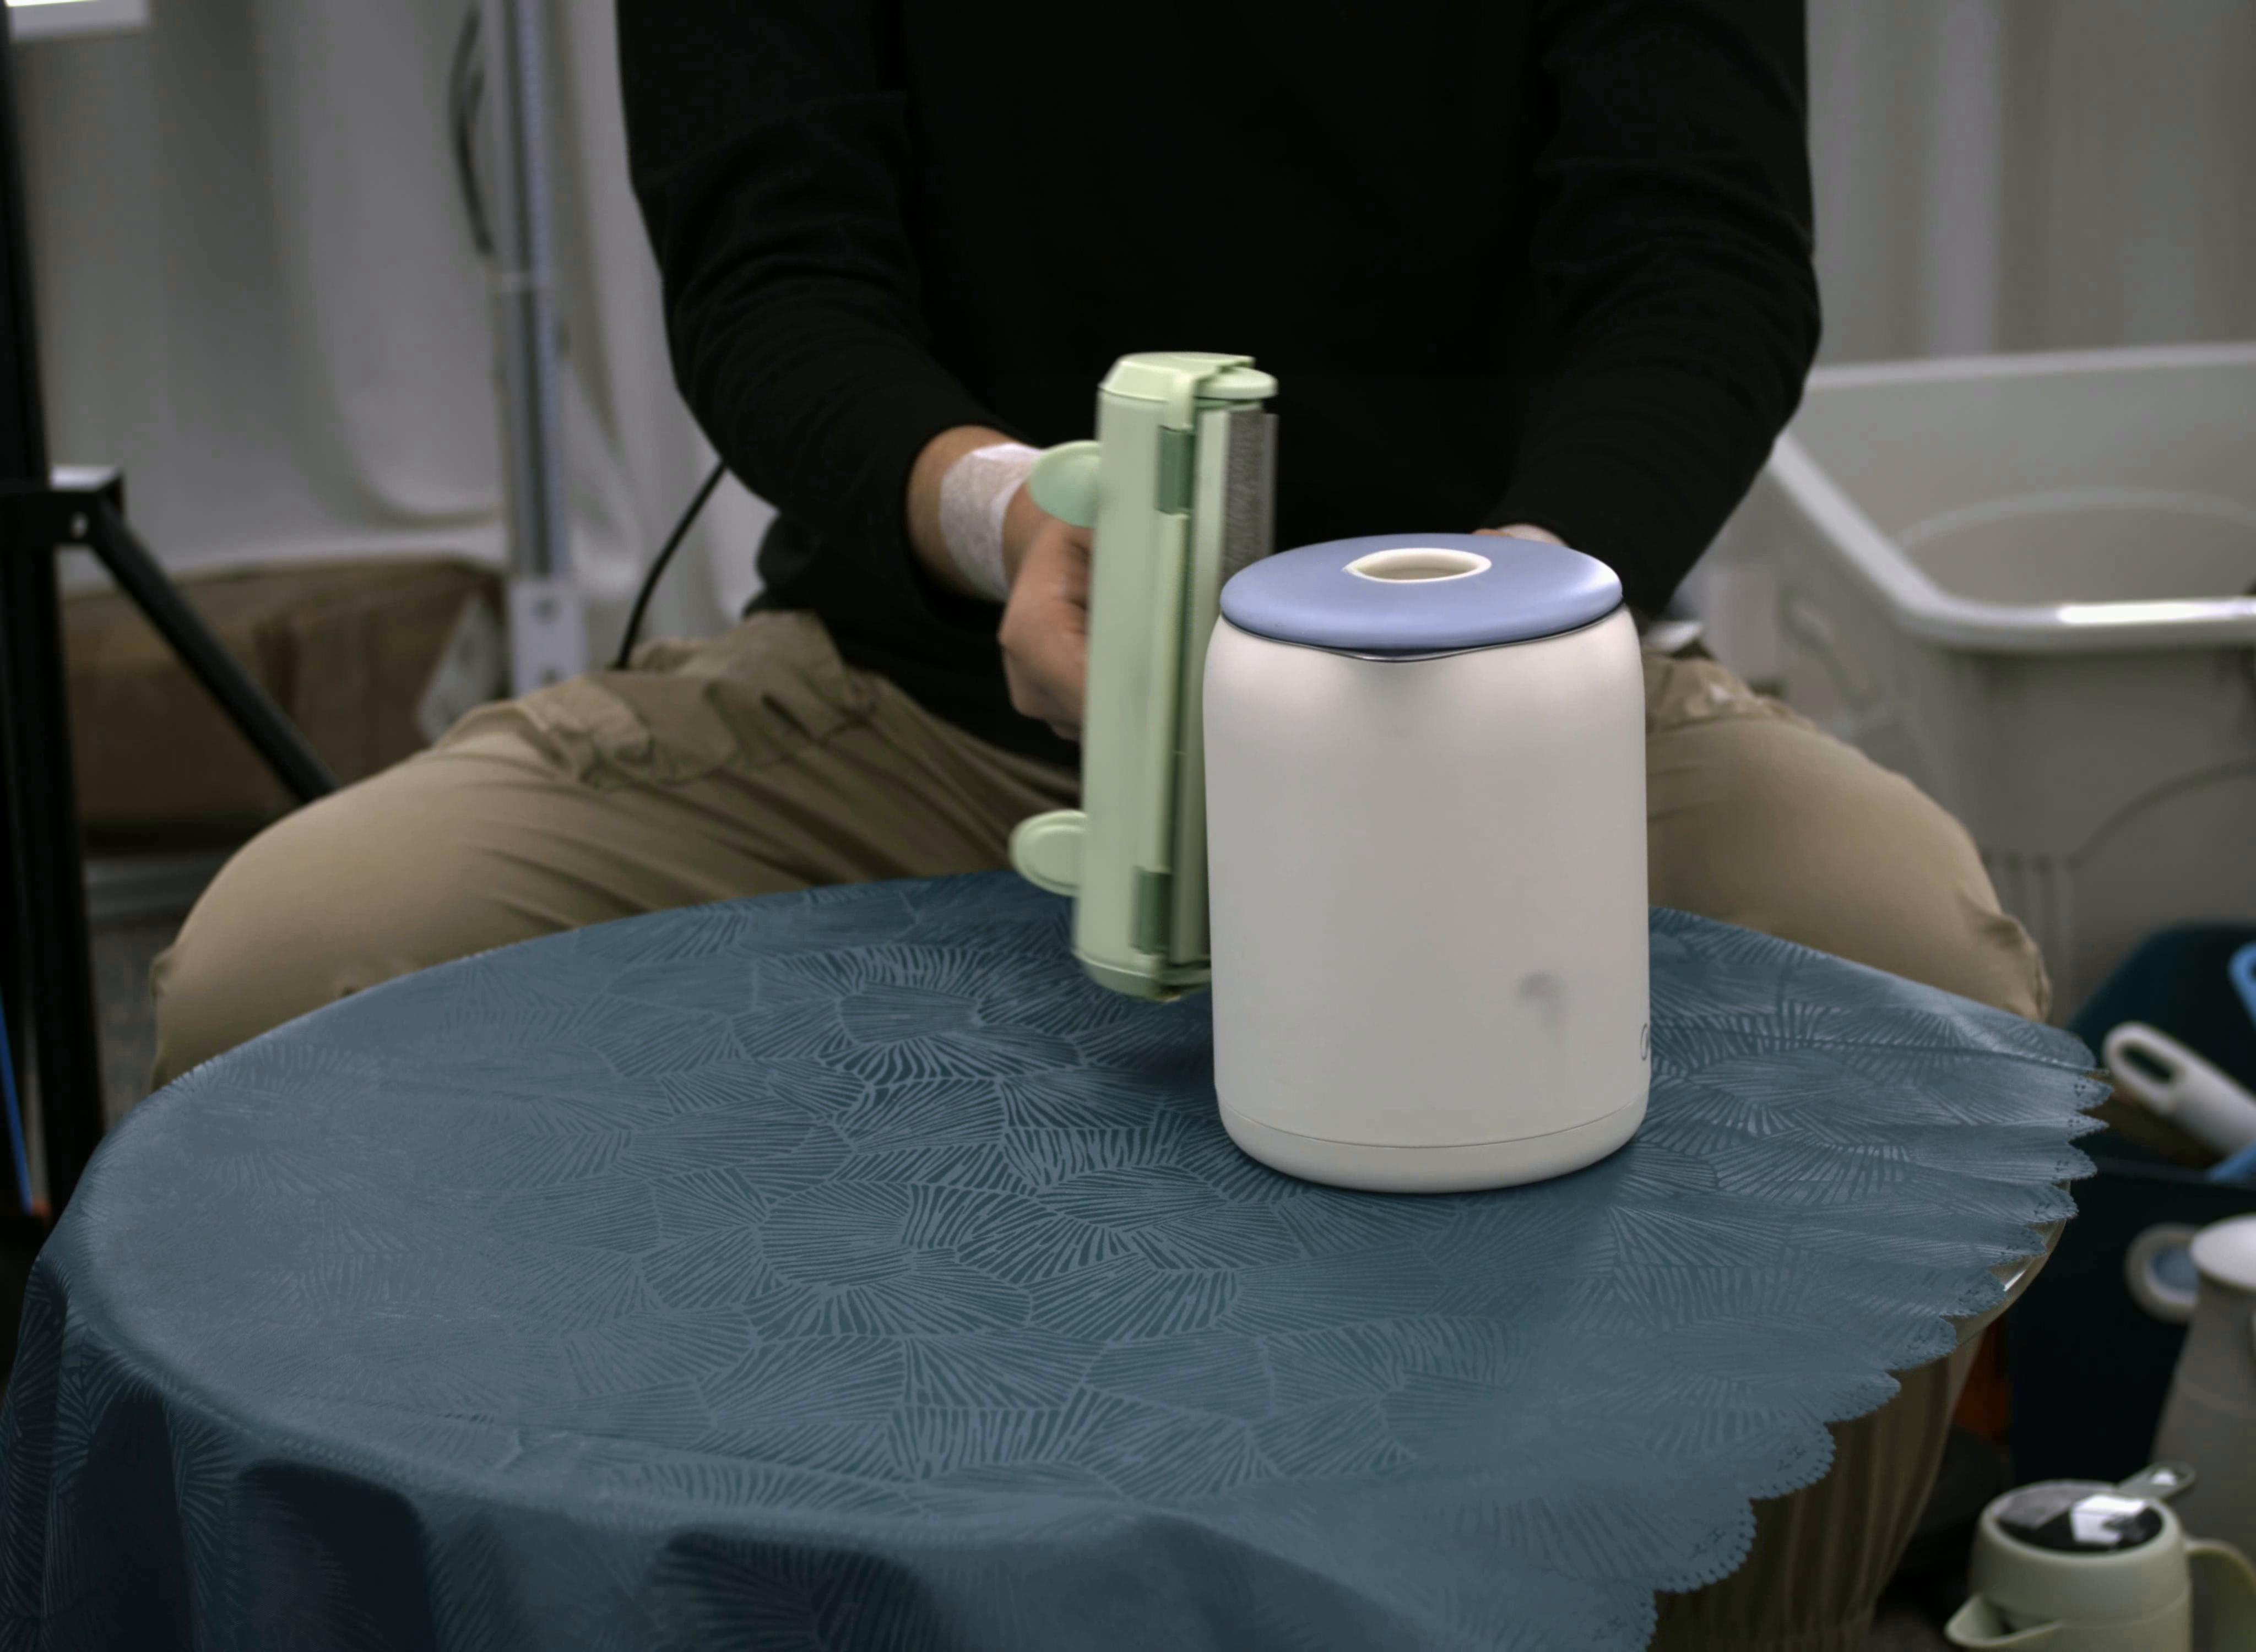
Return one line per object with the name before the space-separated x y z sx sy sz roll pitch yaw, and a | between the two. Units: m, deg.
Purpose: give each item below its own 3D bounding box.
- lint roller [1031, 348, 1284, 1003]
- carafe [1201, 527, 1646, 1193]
lint roller | 0.004 -0.058 1.694 0.081 0.199 0.185 0 11 -9
carafe | 0.092 0.003 1.599 0.132 0.182 0.190 1 13 8
